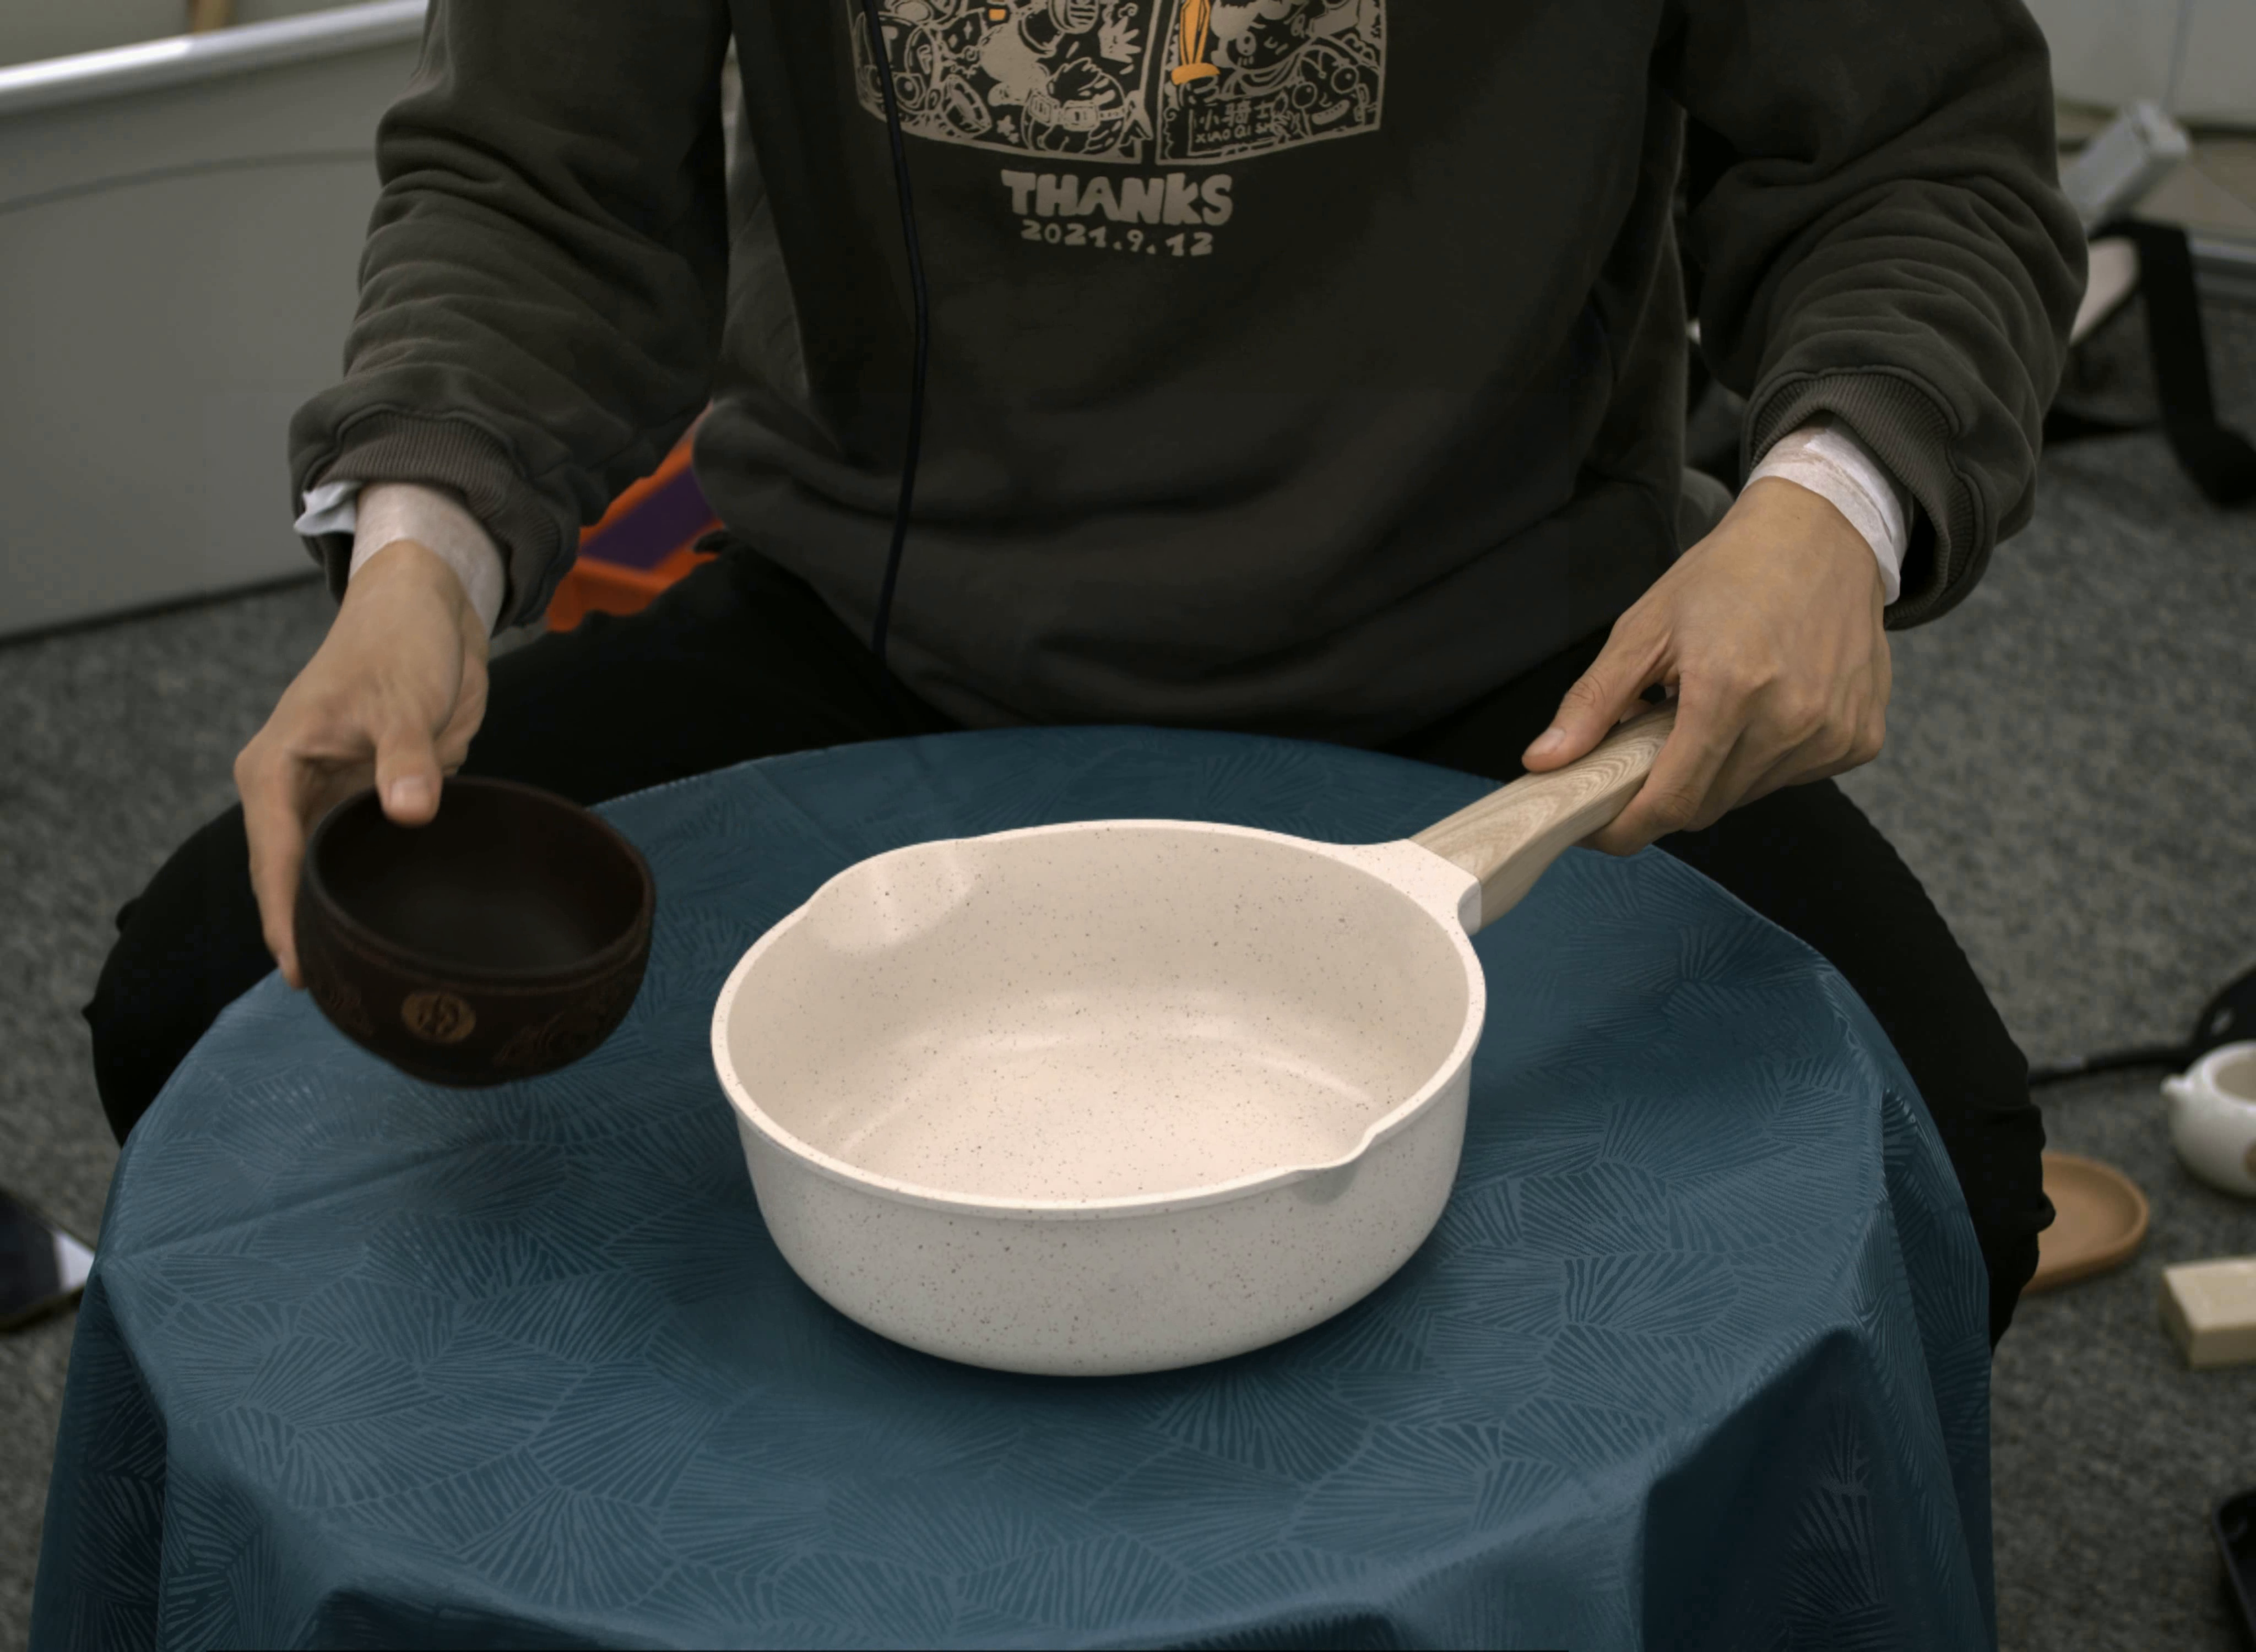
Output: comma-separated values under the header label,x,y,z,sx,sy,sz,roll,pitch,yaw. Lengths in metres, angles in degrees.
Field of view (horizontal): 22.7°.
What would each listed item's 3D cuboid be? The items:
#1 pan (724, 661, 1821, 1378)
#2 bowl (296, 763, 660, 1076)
label,x,y,z,sx,sy,sz,roll,pitch,yaw
pan,0.070,0.058,1.871,0.439,0.101,0.263,-21,31,-32
bowl,-0.216,0.039,1.848,0.117,0.069,0.120,10,30,-5
